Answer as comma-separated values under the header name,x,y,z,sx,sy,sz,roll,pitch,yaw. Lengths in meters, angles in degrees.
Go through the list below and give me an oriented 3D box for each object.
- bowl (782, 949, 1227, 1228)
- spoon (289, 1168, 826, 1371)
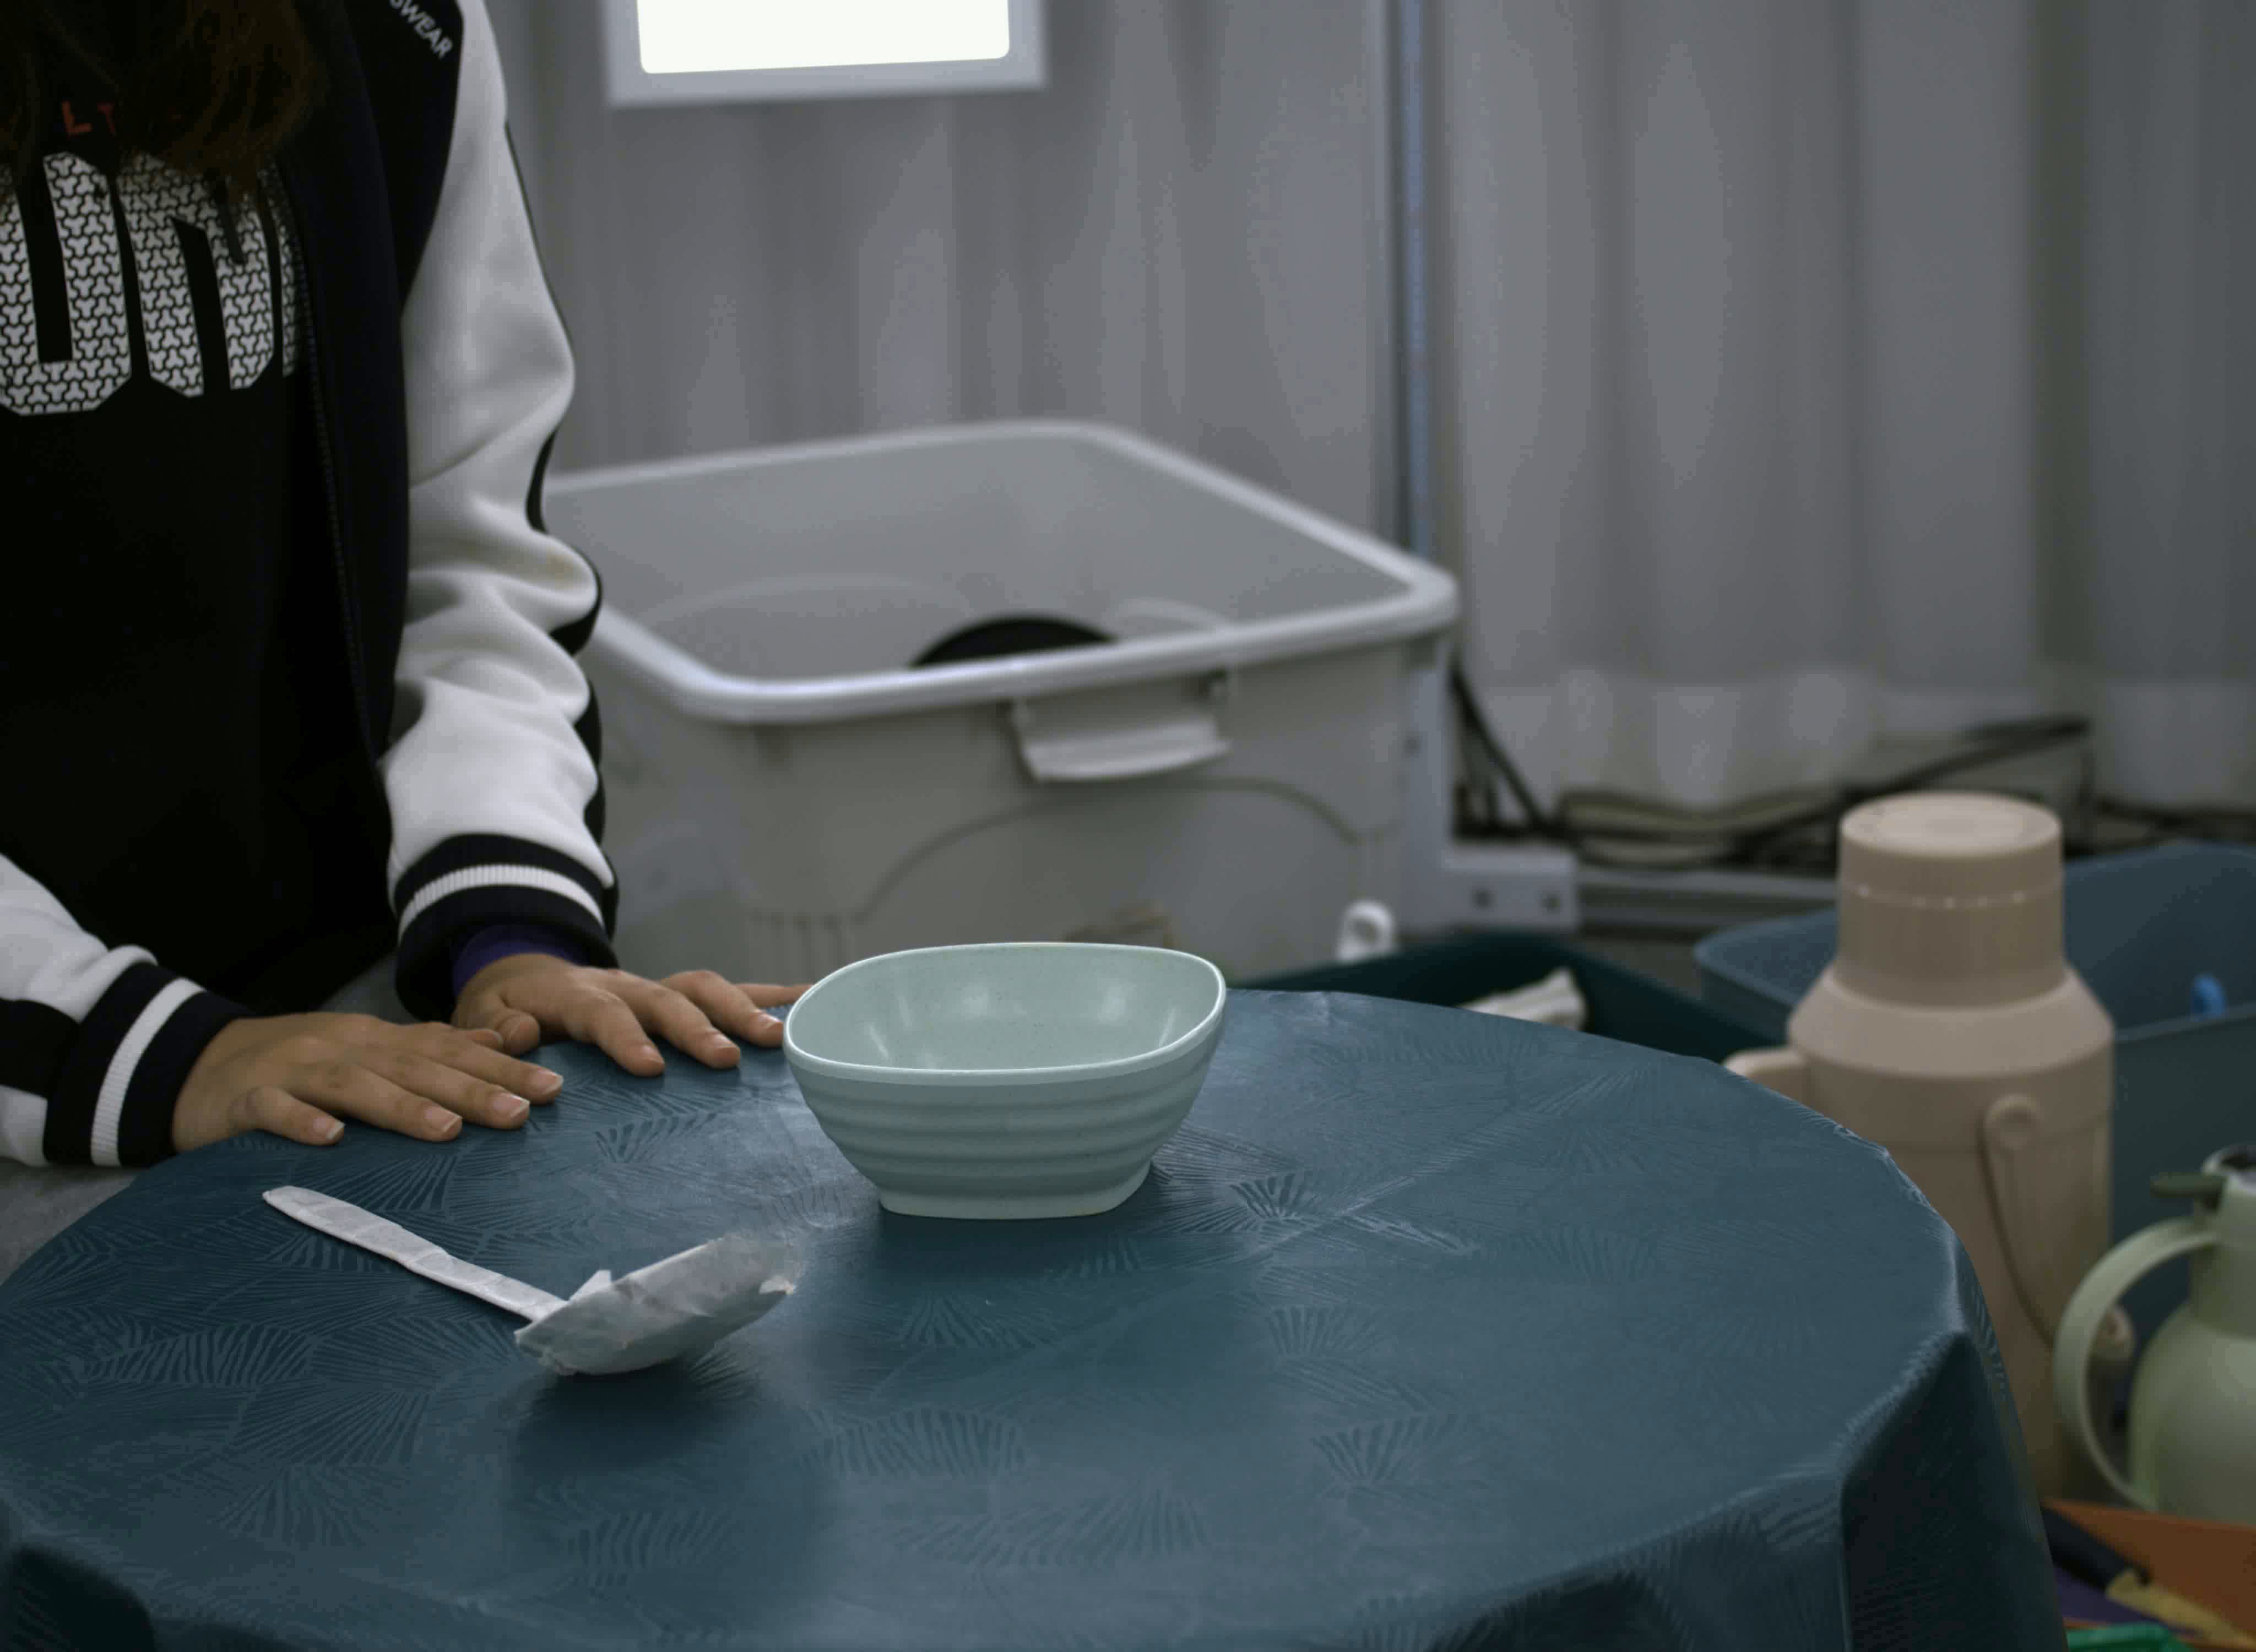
name,x,y,z,sx,sy,sz,roll,pitch,yaw
bowl,-0.037,0.086,1.727,0.151,0.058,0.152,-3,15,0
spoon,-0.183,0.113,1.644,0.100,0.059,0.279,-7,15,-33
